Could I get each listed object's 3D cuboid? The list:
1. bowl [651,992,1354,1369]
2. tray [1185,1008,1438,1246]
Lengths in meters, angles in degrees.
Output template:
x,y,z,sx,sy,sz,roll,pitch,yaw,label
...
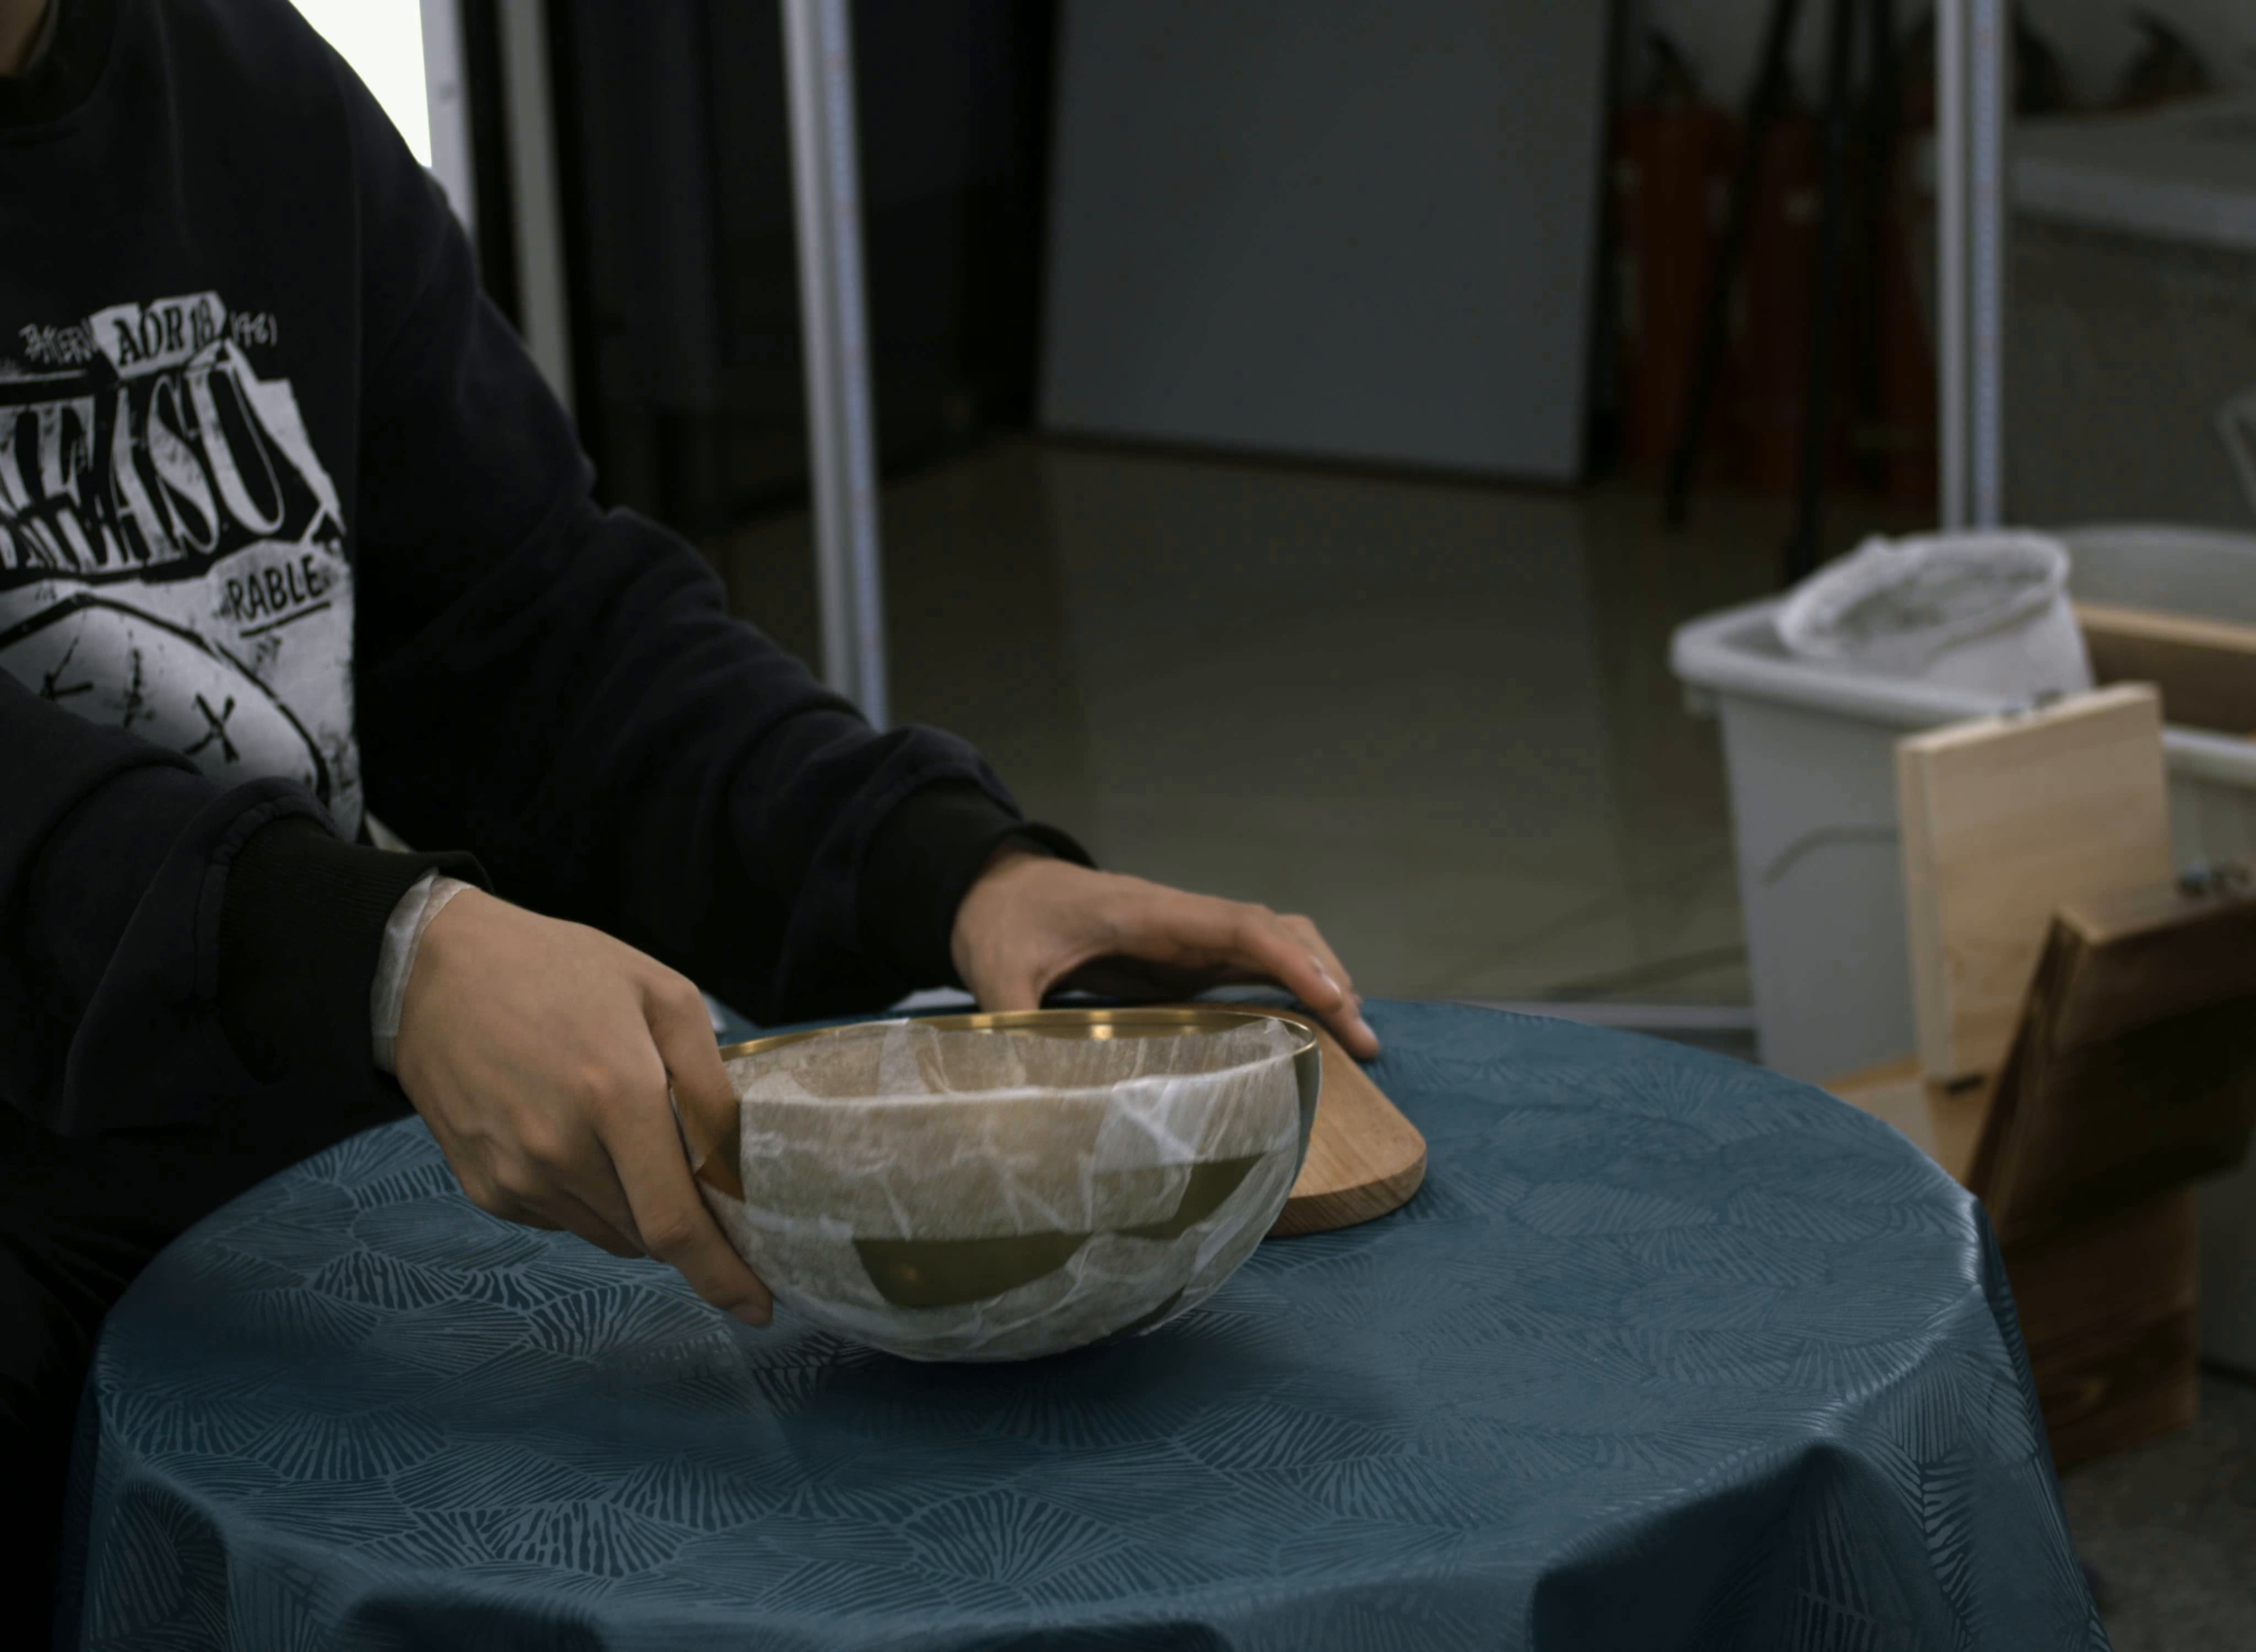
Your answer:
x,y,z,sx,sy,sz,roll,pitch,yaw,label
-0.036,0.110,1.620,0.212,0.096,0.215,-5,6,0,bowl
0.036,0.099,1.817,0.100,0.020,0.233,-9,16,-12,tray
